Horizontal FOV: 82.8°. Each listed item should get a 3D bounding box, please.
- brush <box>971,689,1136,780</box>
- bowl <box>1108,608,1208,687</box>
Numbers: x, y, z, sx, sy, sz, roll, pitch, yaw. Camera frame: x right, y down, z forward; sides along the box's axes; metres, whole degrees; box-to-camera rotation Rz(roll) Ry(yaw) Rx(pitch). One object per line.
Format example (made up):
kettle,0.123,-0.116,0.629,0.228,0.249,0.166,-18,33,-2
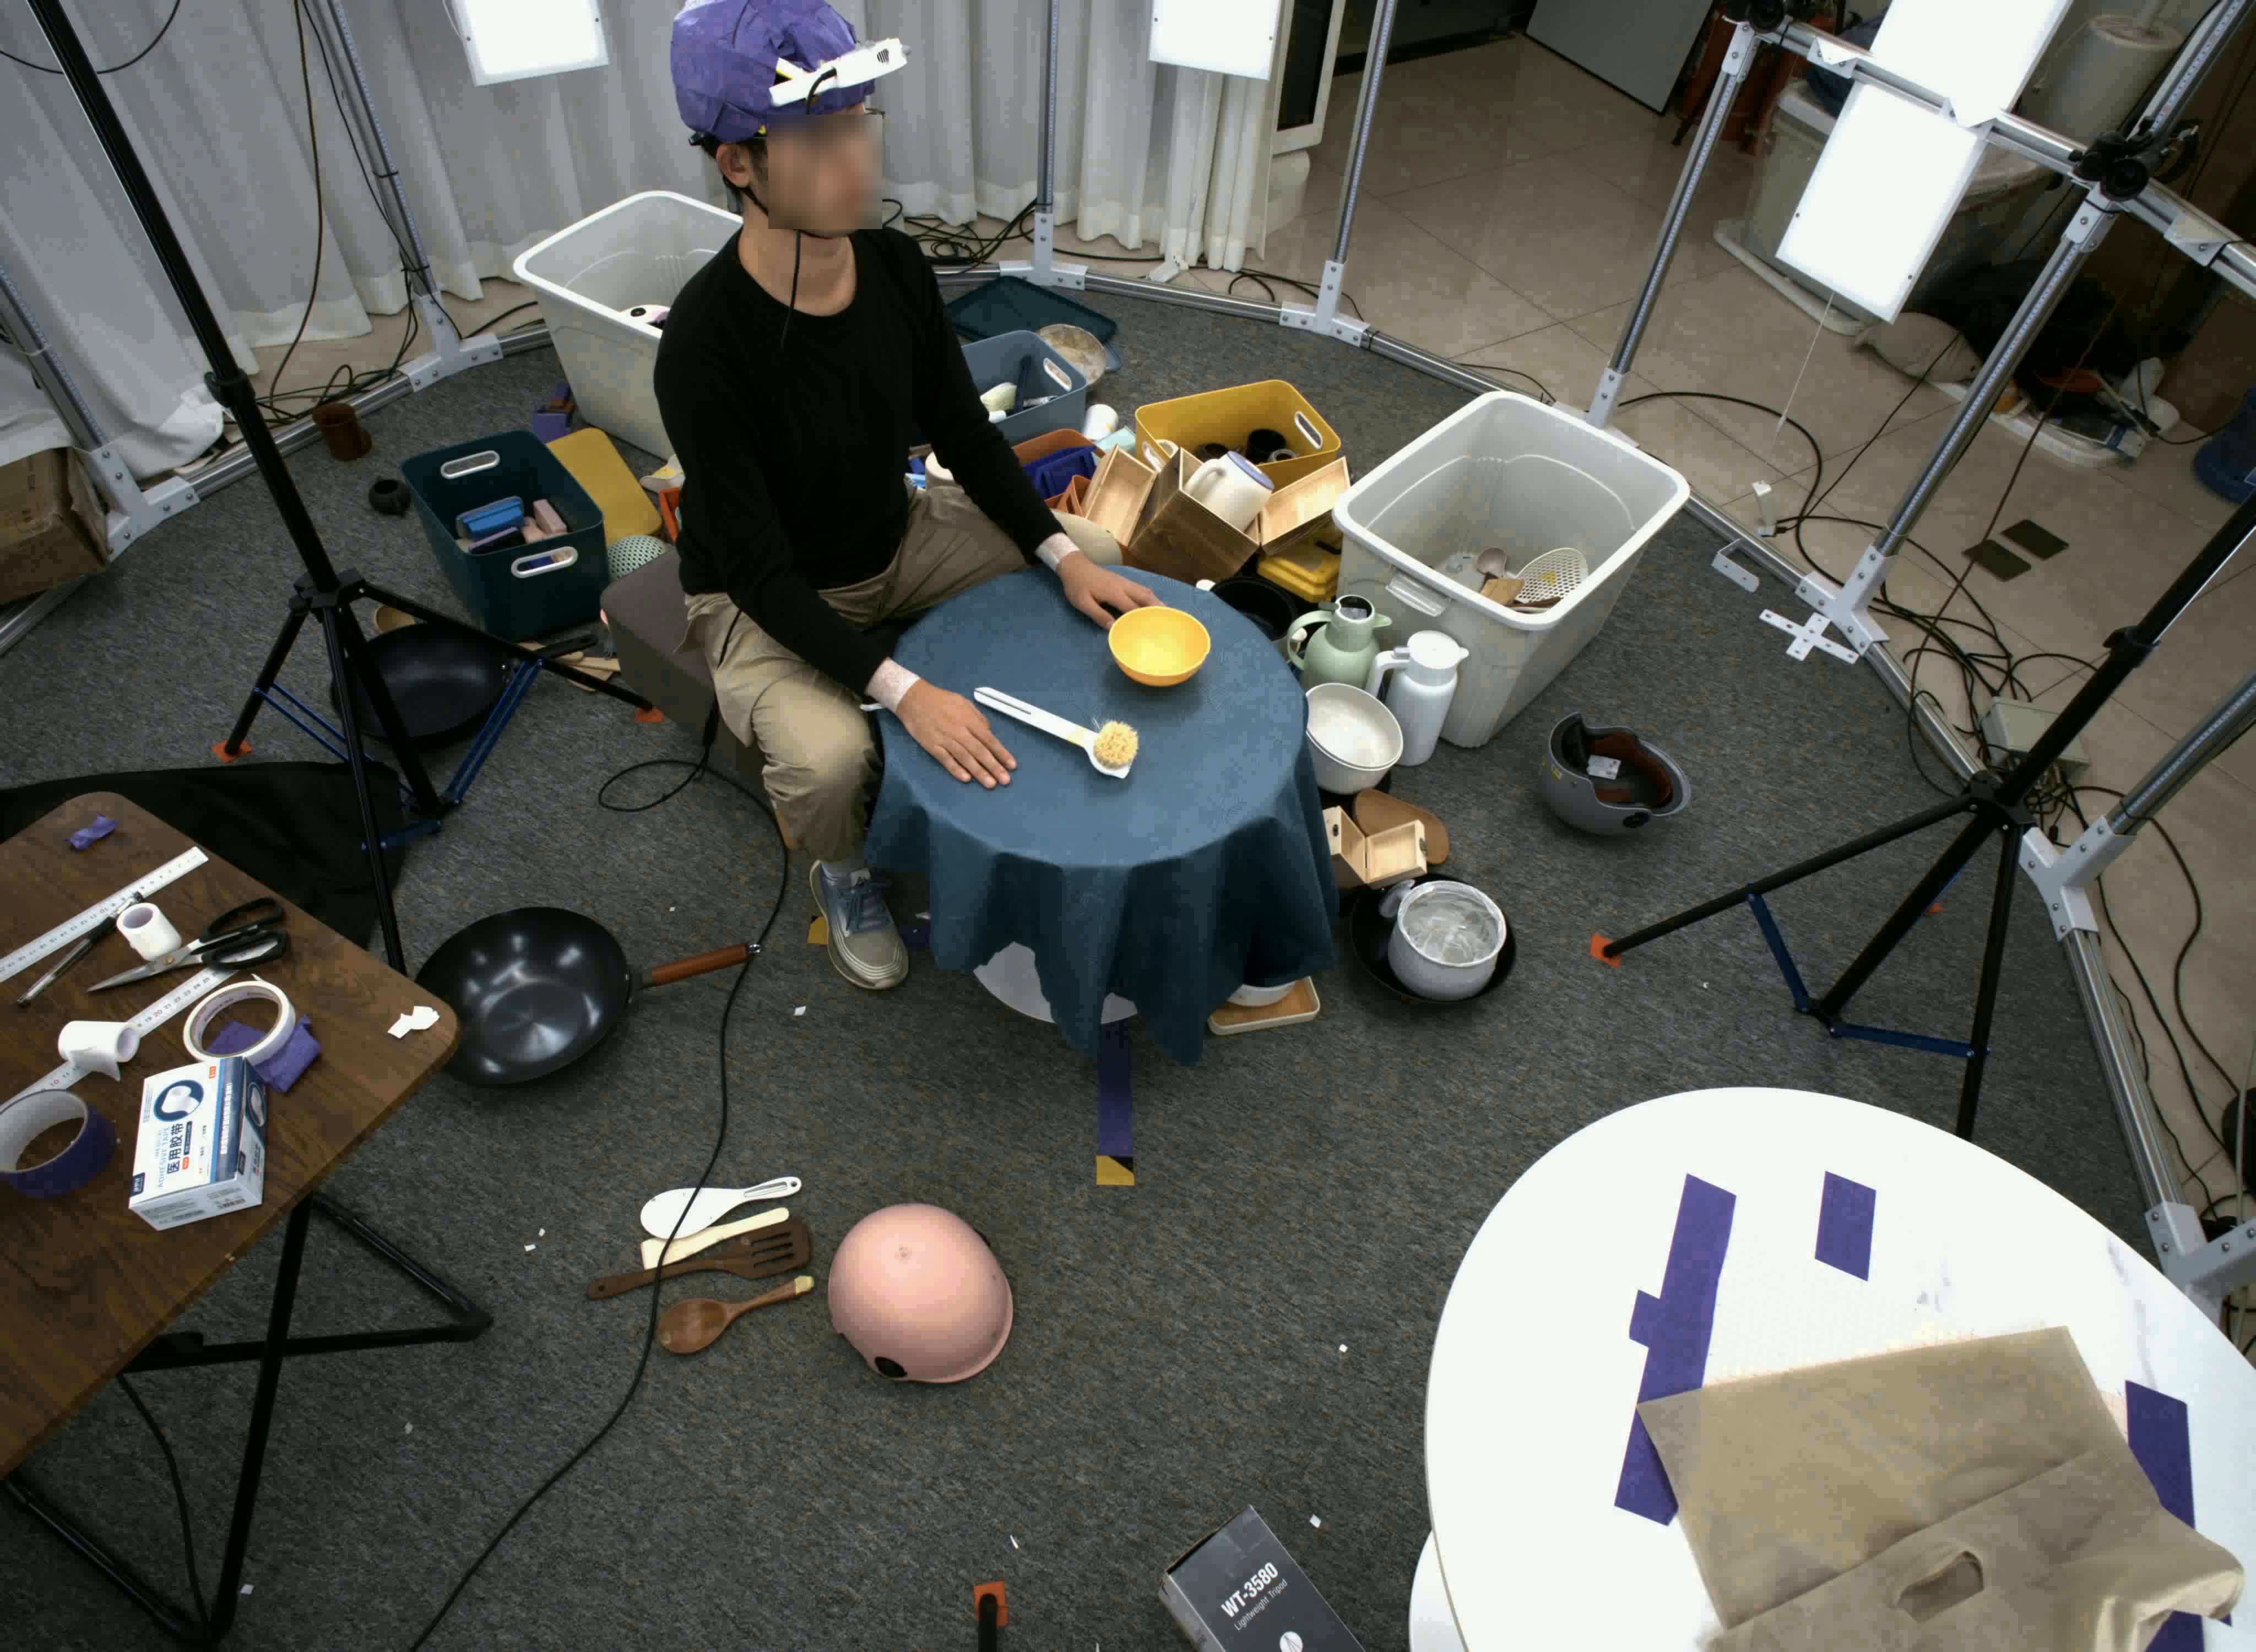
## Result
brush,-0.107,-0.144,1.753,0.269,0.055,0.069,29,49,21
bowl,0.041,-0.246,1.849,0.145,0.058,0.149,2,48,-3
